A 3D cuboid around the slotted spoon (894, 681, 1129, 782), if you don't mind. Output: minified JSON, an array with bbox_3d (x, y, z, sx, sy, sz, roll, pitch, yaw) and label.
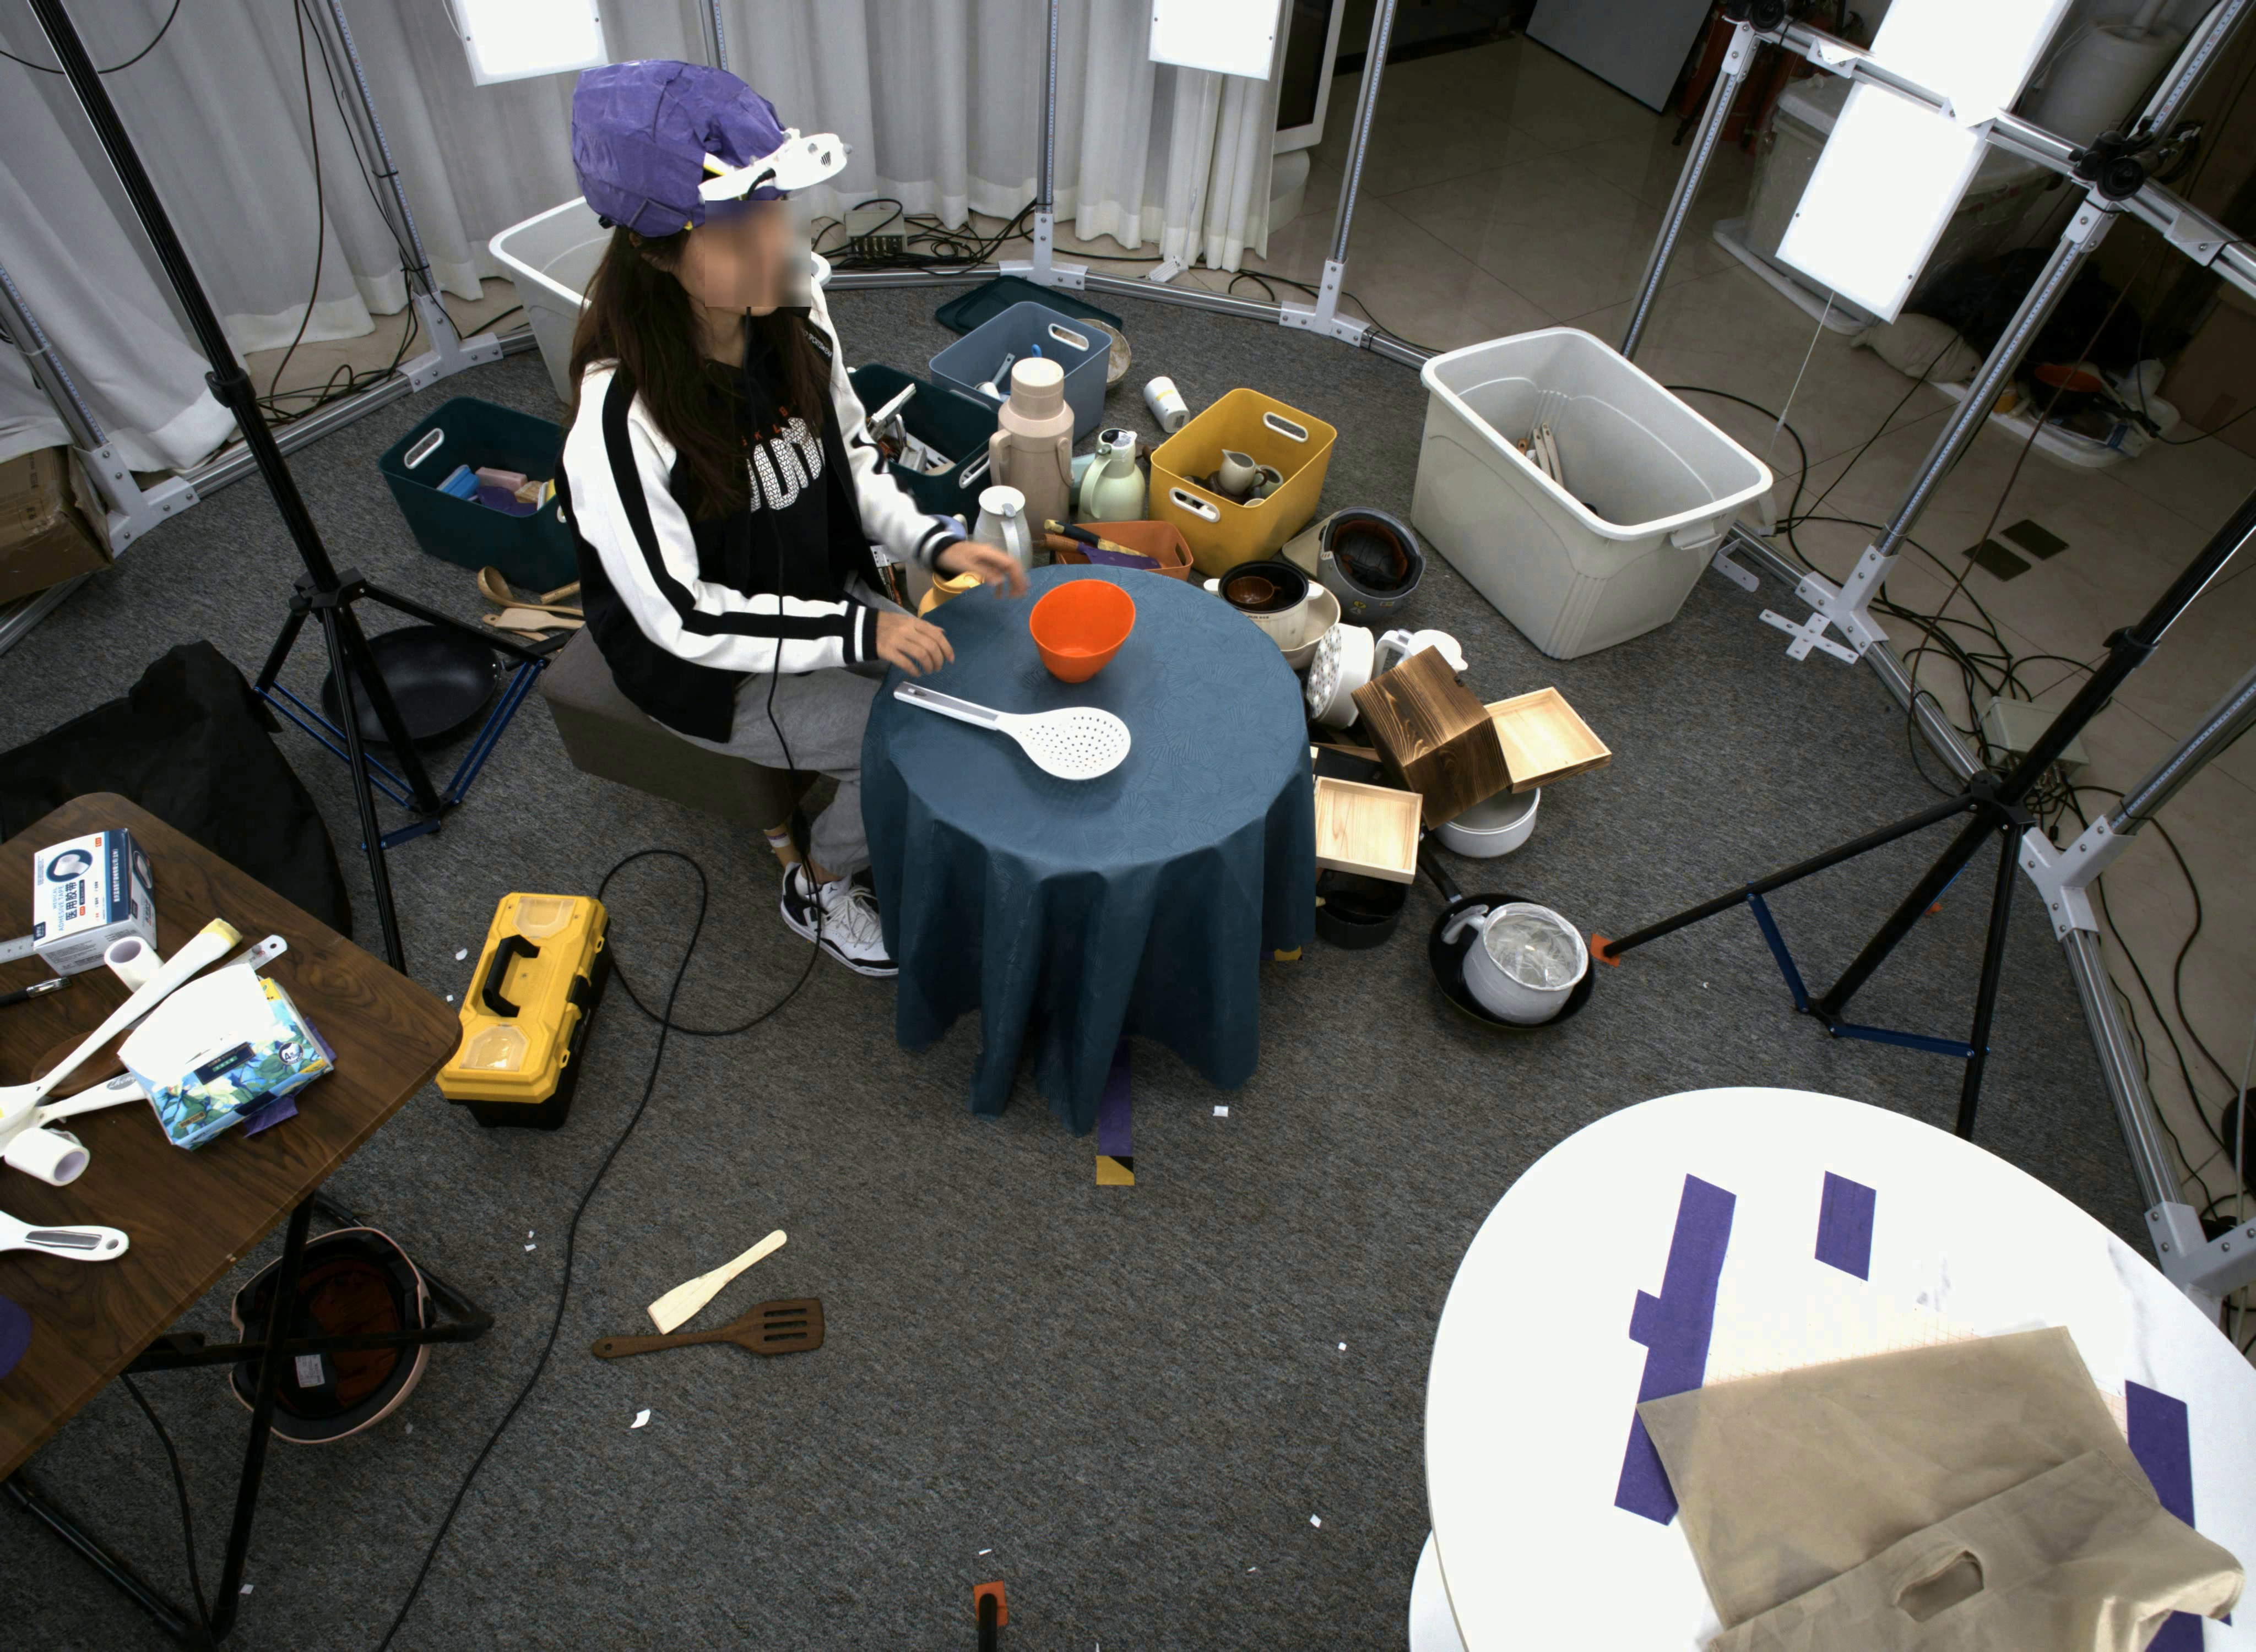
[{"bbox_3d":[-0.164,-0.139,1.750,0.352,0.044,0.138,21,51,15],"label":"slotted spoon"}]

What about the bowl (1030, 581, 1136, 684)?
[{"bbox_3d":[-0.066,-0.265,1.831,0.148,0.102,0.151,2,51,-3],"label":"bowl"}]
